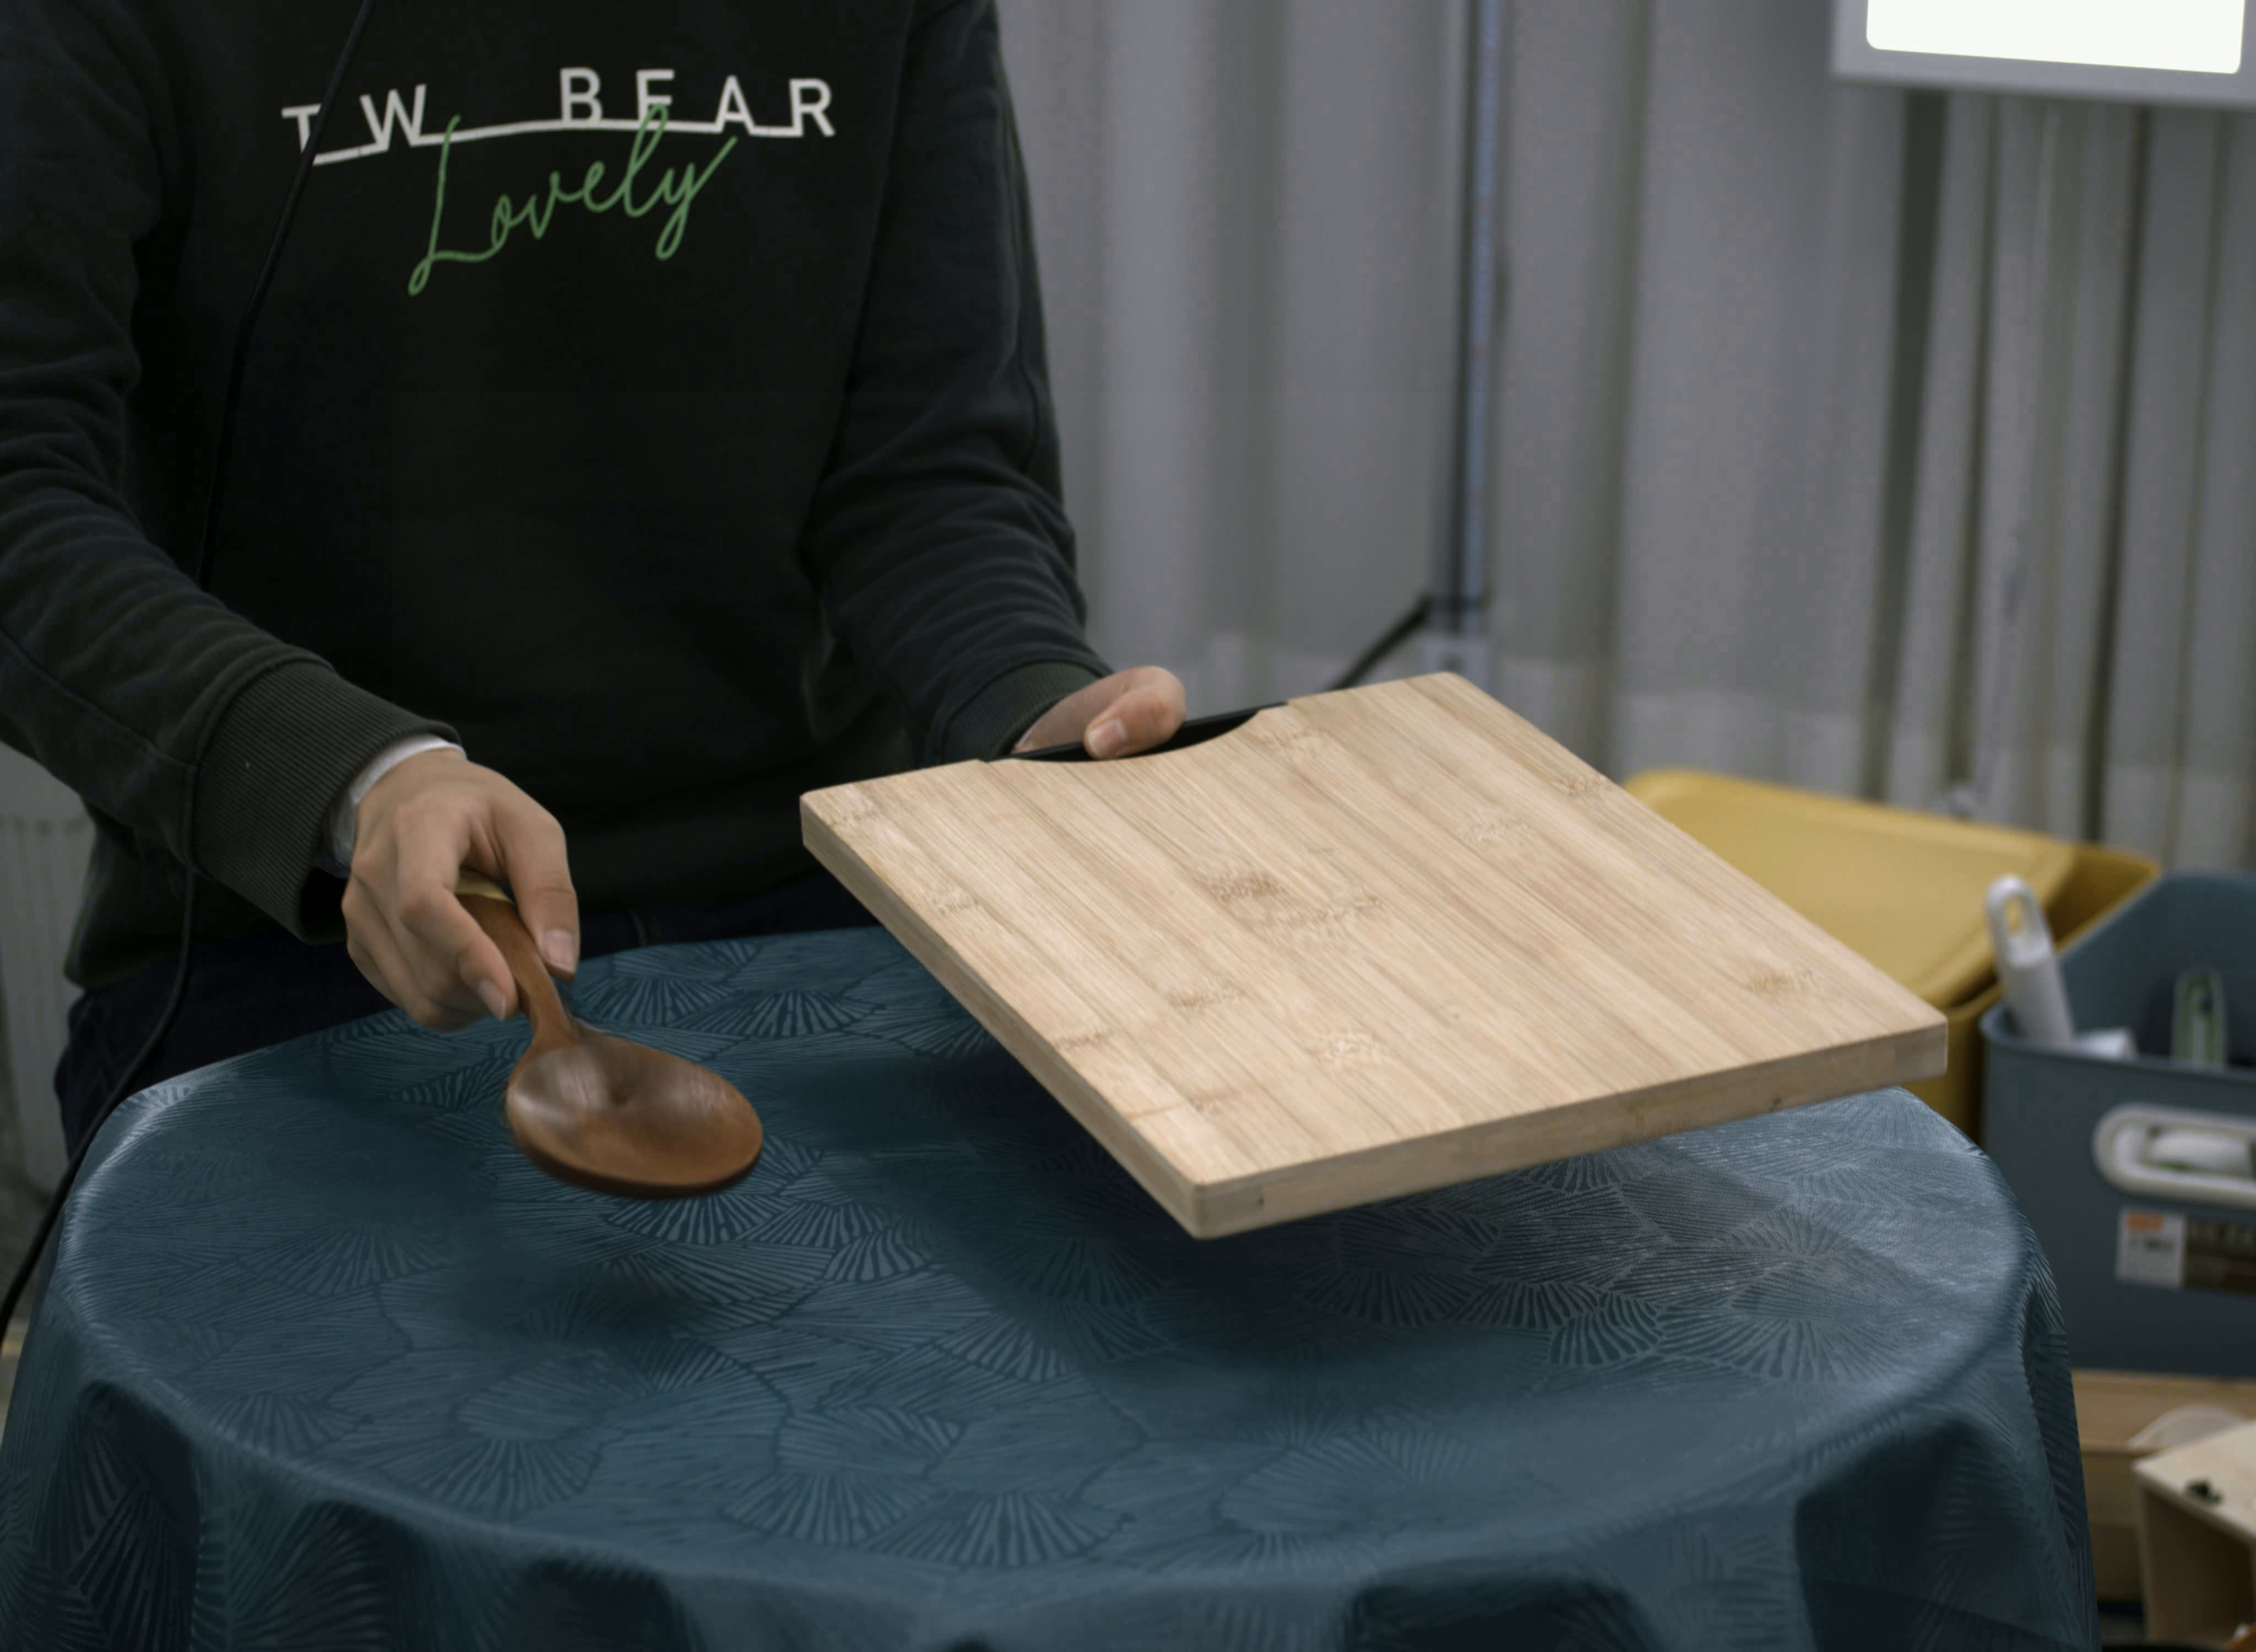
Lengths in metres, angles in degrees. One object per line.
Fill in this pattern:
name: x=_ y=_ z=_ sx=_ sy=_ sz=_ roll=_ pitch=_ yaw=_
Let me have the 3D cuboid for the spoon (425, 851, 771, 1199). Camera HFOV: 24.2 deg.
spoon: x=-0.168 y=0.060 z=1.571 sx=0.076 sy=0.017 sz=0.213 roll=-5 pitch=28 yaw=-25

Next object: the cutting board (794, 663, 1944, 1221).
cutting board: x=0.064 y=0.028 z=1.643 sx=0.251 sy=0.024 sz=0.344 roll=-11 pitch=23 yaw=-21
